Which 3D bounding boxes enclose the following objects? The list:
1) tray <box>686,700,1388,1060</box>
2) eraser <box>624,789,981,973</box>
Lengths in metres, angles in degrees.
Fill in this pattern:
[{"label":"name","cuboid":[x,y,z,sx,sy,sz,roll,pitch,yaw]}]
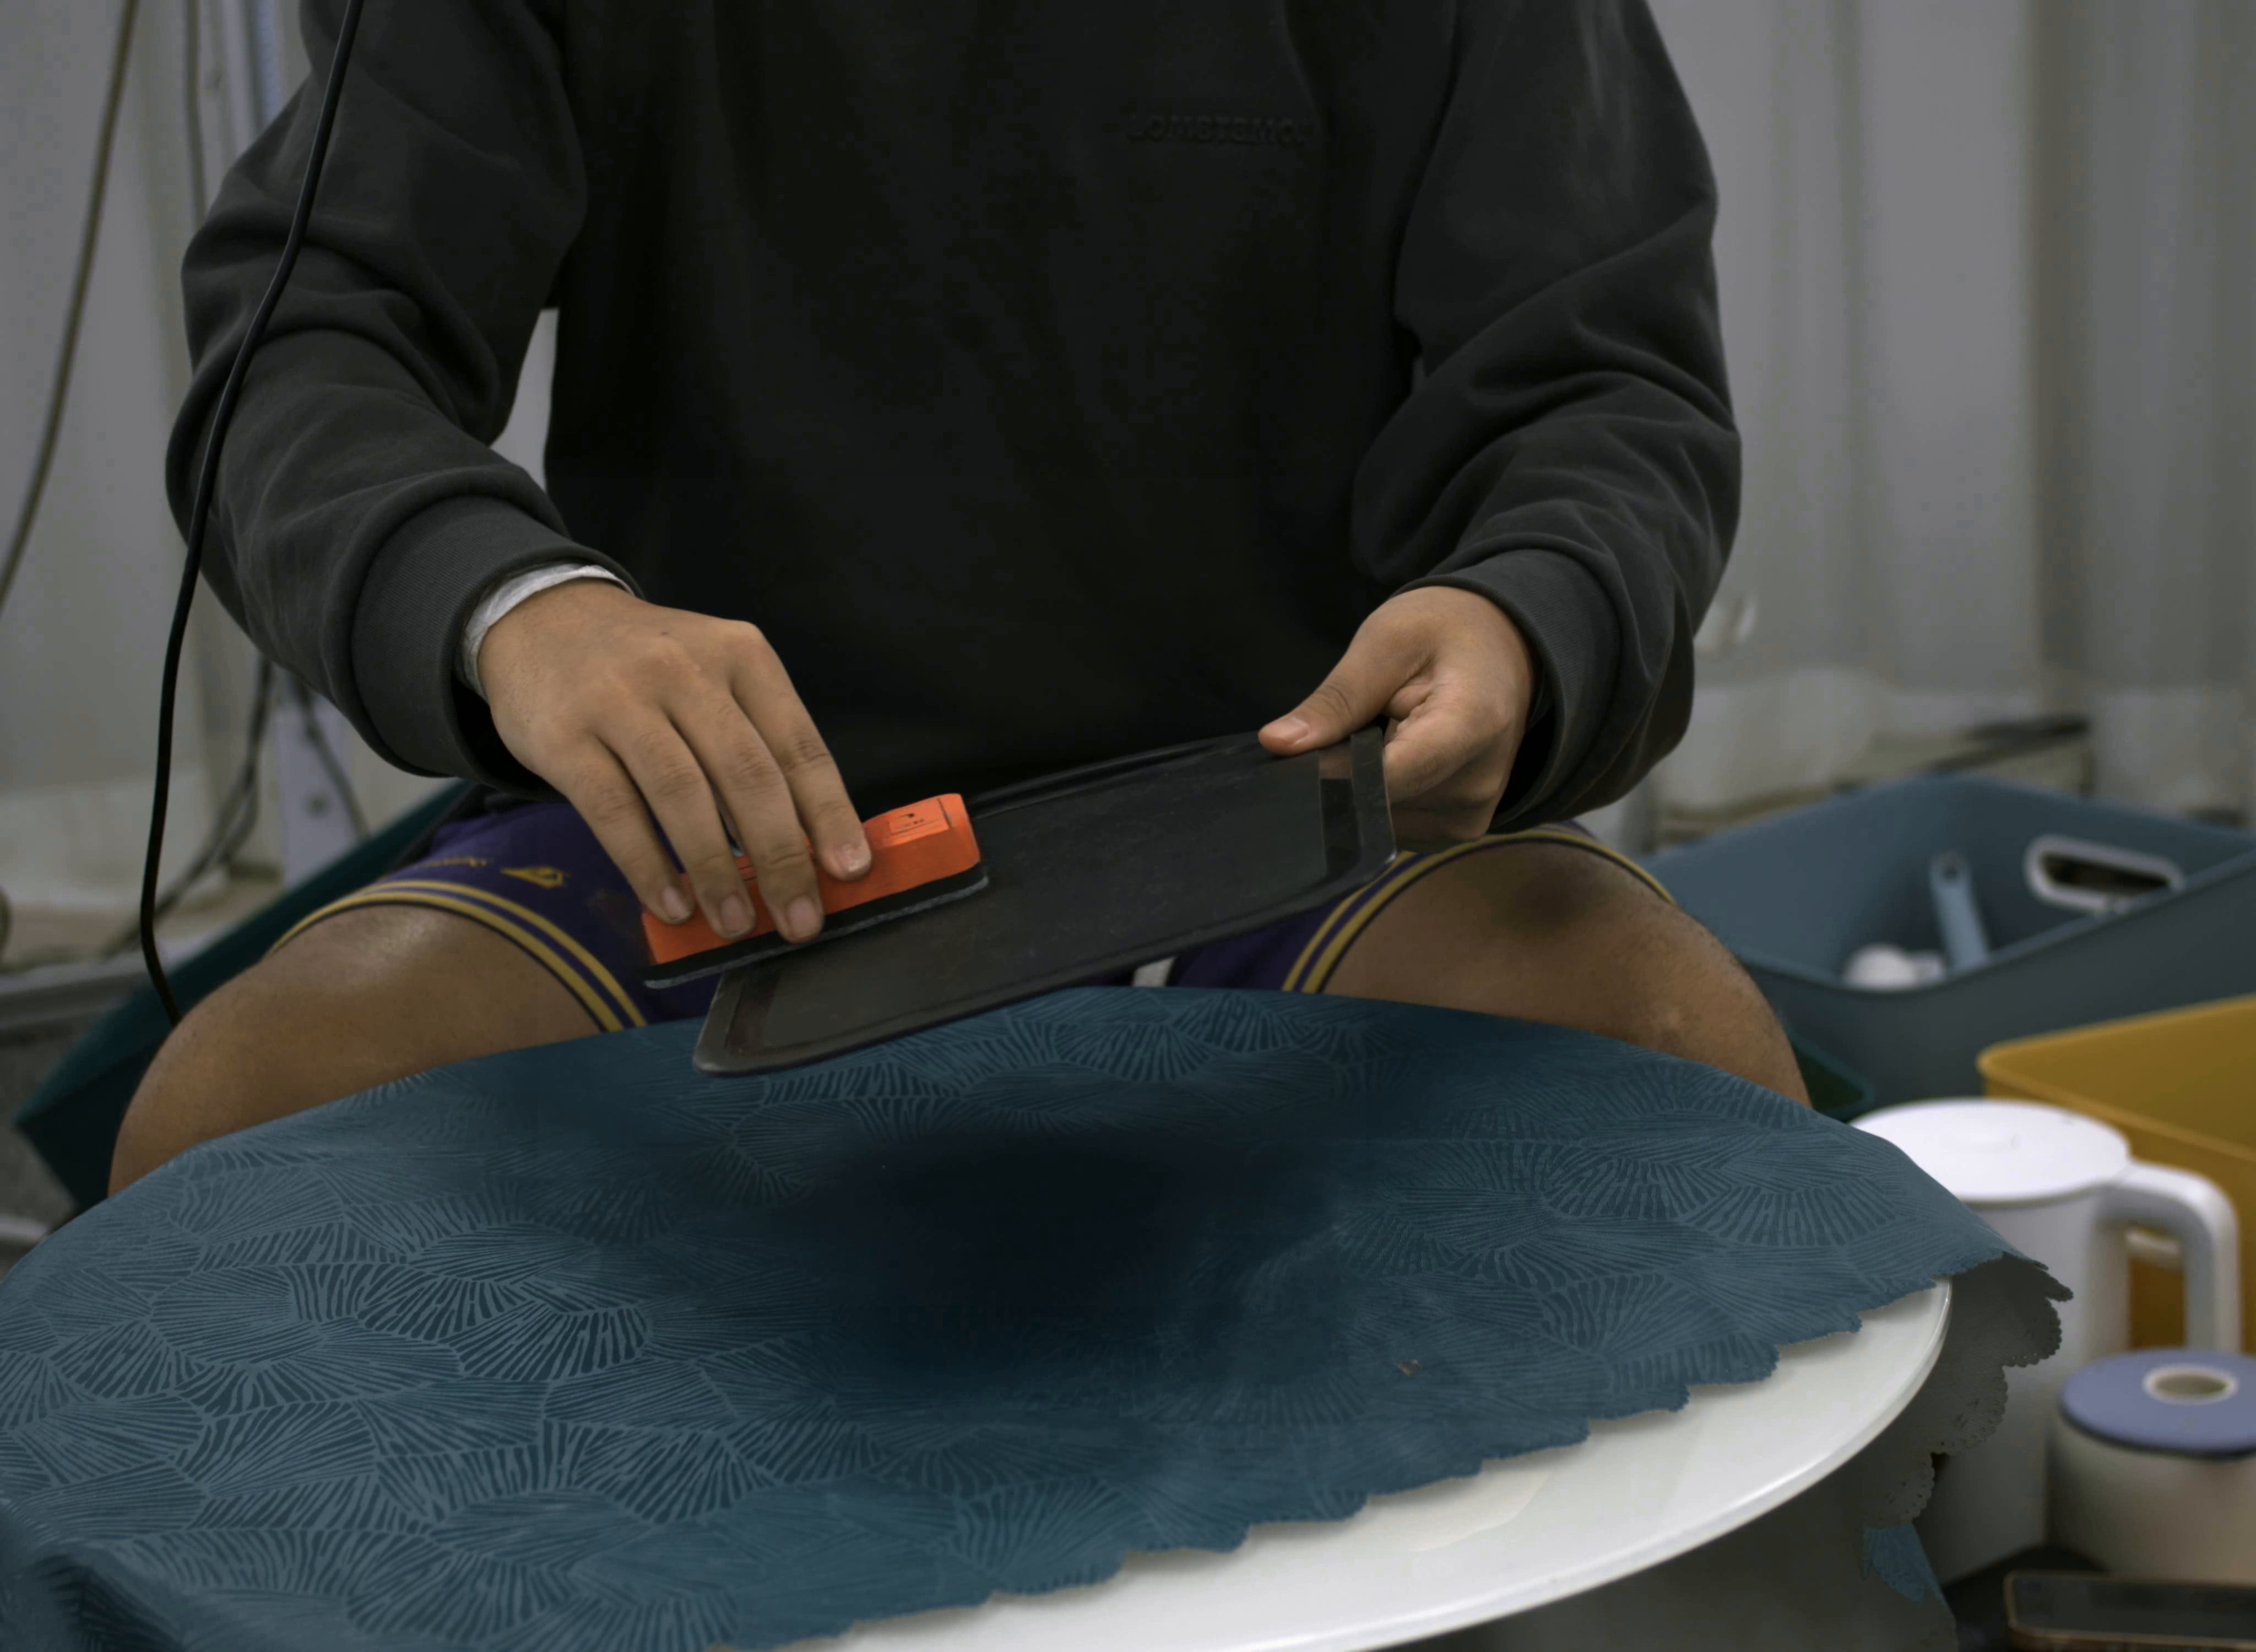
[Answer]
[{"label":"tray","cuboid":[-0.024,0.011,1.668,0.210,0.010,0.327,-16,11,5]},{"label":"eraser","cuboid":[-0.100,0.017,1.679,0.108,0.023,0.059,-16,11,-3]}]
